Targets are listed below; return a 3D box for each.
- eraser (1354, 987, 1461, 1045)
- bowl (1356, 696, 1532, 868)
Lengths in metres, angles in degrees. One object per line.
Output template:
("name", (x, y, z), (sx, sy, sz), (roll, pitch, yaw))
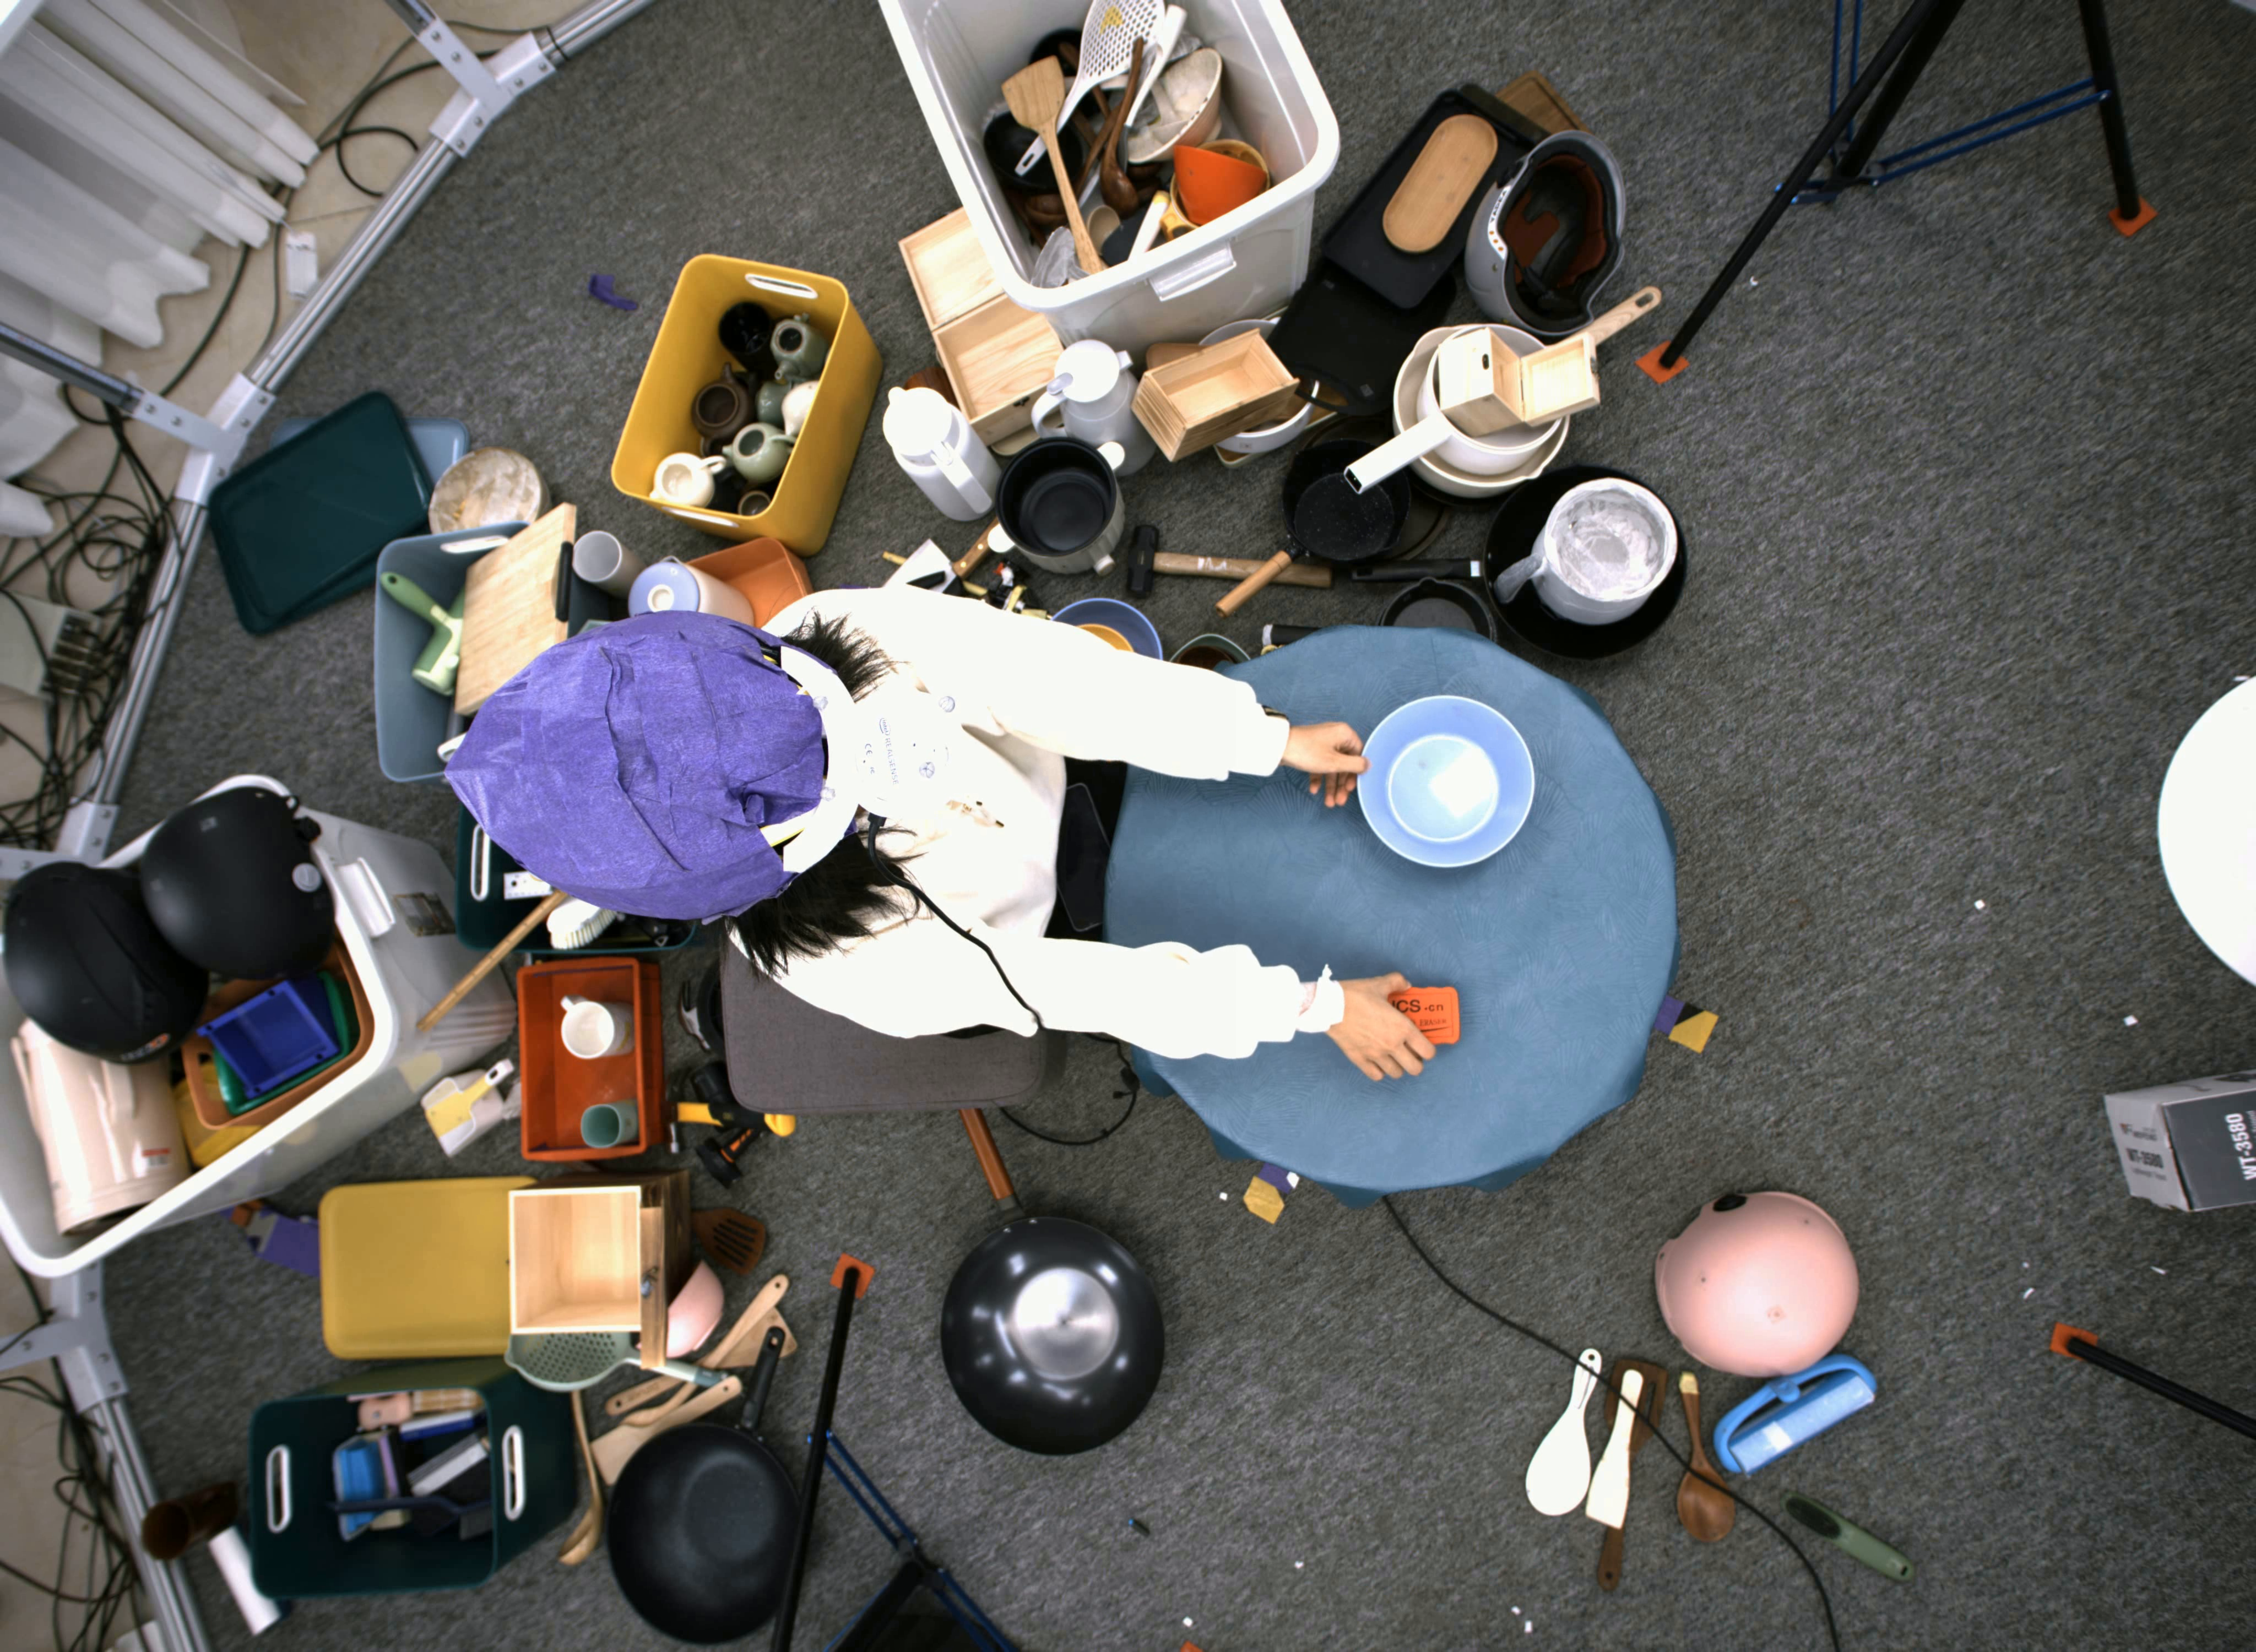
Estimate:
("eraser", (0.289, 0.195, 1.428), (0.109, 0.023, 0.058), (-3, 82, 20))
("bowl", (0.324, -0.044, 1.420), (0.177, 0.070, 0.175), (-1, 87, 11))
